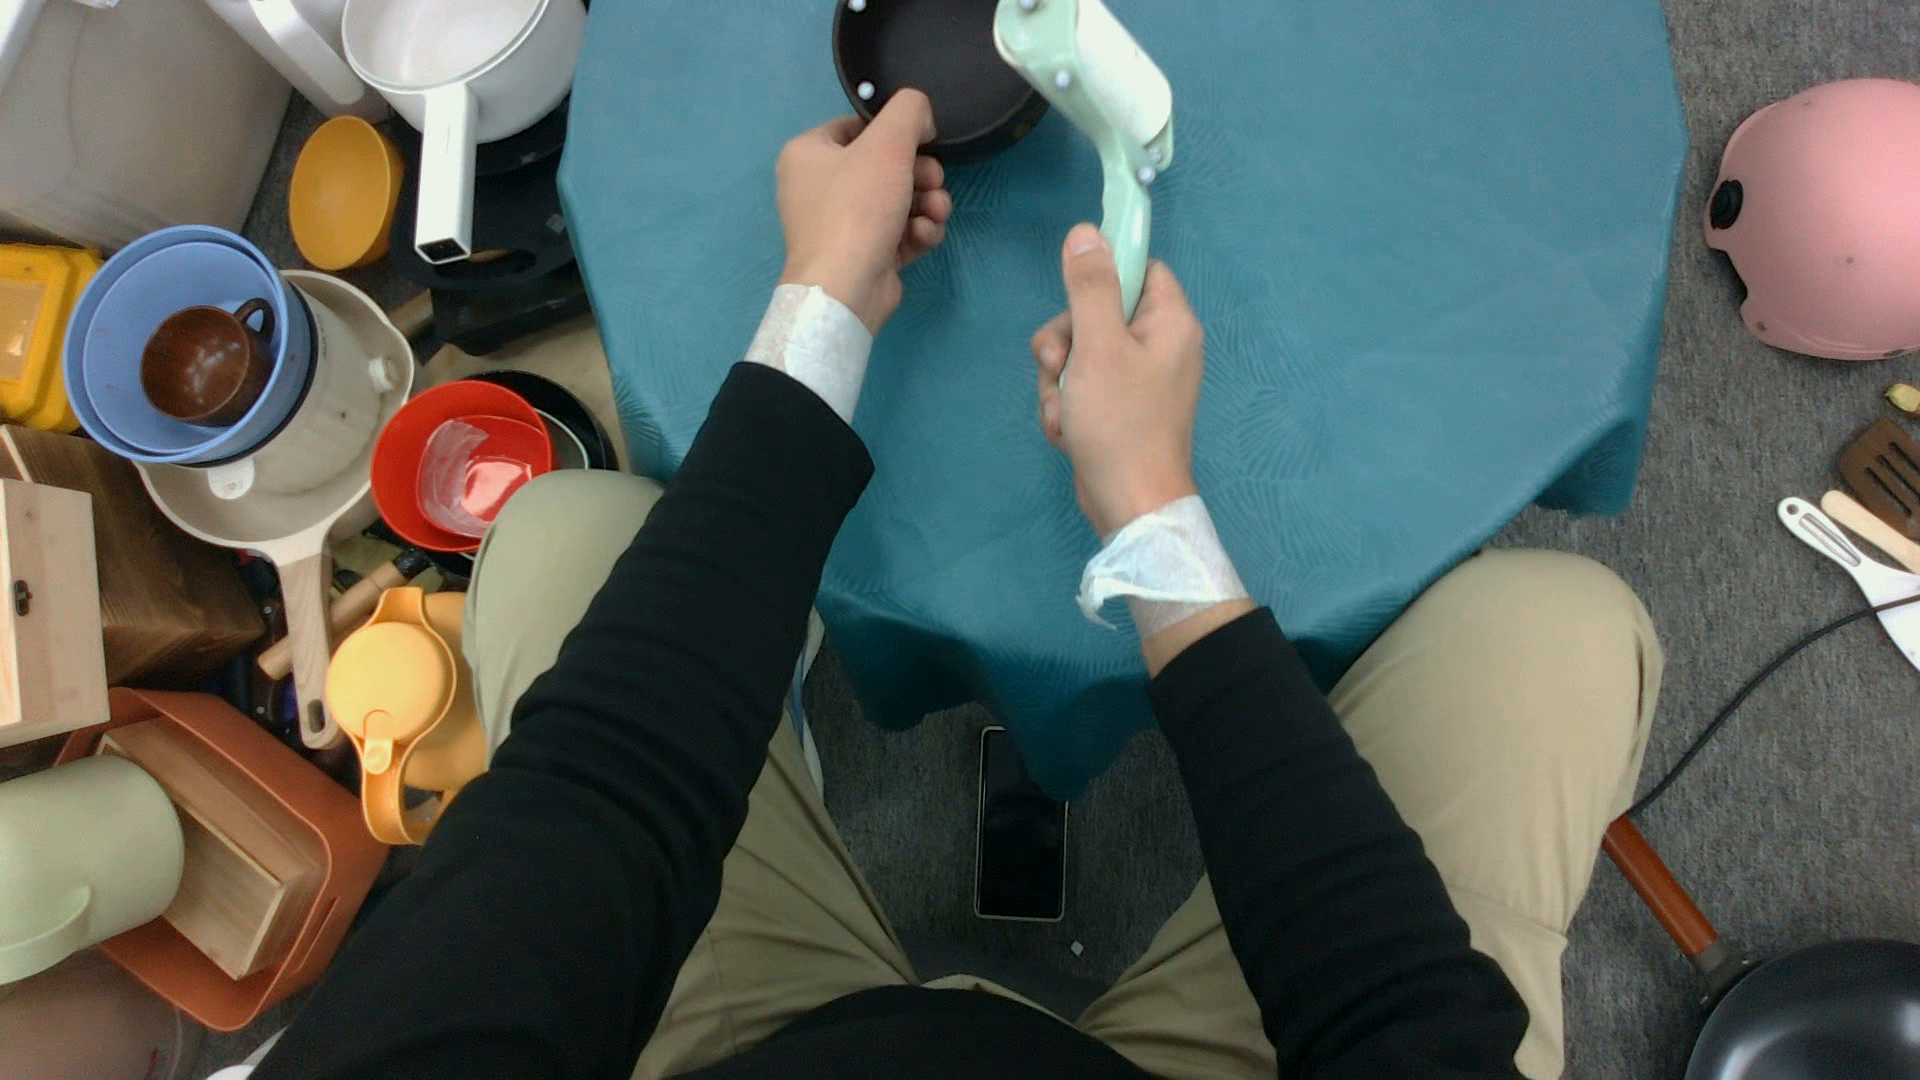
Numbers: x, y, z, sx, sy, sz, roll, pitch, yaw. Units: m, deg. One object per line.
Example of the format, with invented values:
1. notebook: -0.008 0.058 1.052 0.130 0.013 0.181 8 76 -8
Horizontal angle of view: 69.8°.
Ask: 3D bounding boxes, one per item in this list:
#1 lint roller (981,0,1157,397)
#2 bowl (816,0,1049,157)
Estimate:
1. lint roller: 0.056 -0.165 0.637 0.048 0.117 0.198 -9 76 28
2. bowl: -0.010 -0.256 0.715 0.118 0.070 0.118 0 90 9
